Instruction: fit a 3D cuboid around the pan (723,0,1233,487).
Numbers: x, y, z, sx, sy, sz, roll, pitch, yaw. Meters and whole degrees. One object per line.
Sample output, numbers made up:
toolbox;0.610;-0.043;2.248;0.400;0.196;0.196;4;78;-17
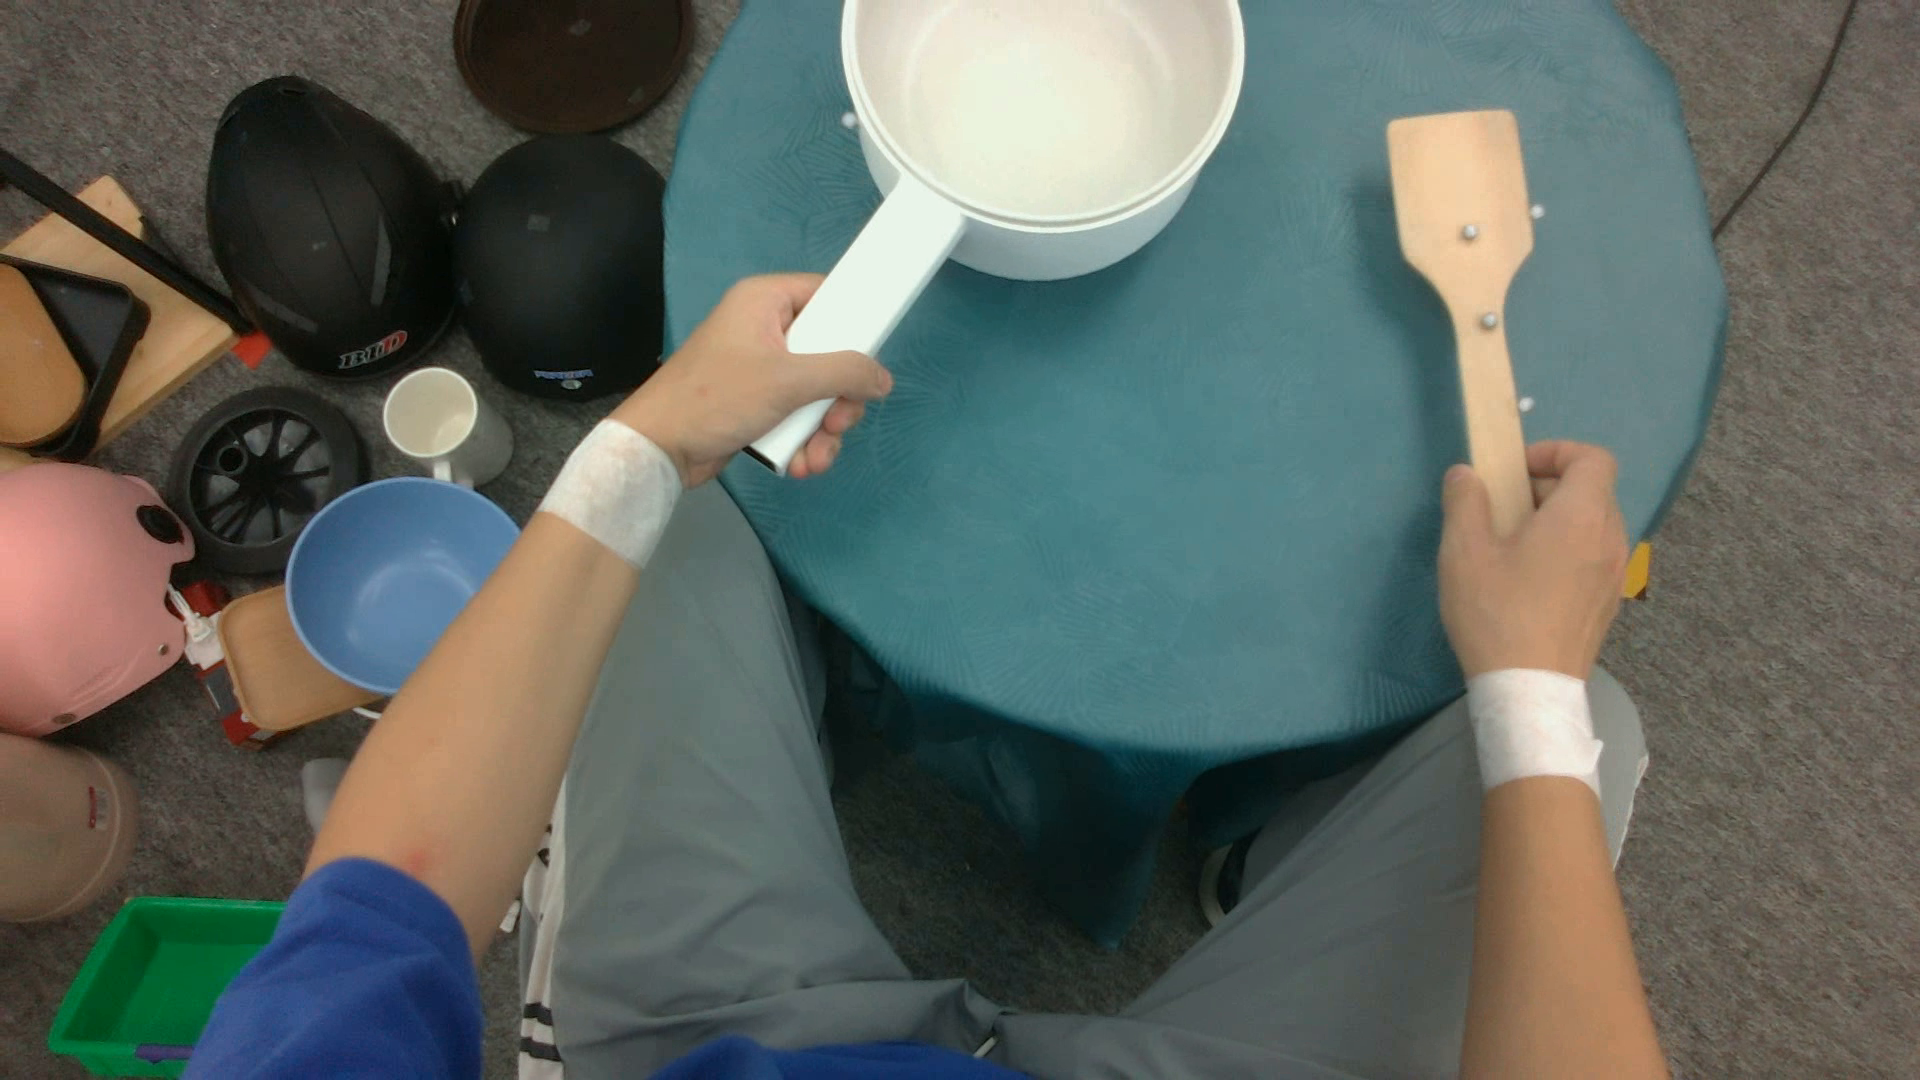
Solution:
pan;-0.002;-0.174;0.741;0.201;0.102;0.355;33;79;4

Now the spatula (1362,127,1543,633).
spatula;0.273;-0.093;0.739;0.072;0.010;0.294;-5;72;2
